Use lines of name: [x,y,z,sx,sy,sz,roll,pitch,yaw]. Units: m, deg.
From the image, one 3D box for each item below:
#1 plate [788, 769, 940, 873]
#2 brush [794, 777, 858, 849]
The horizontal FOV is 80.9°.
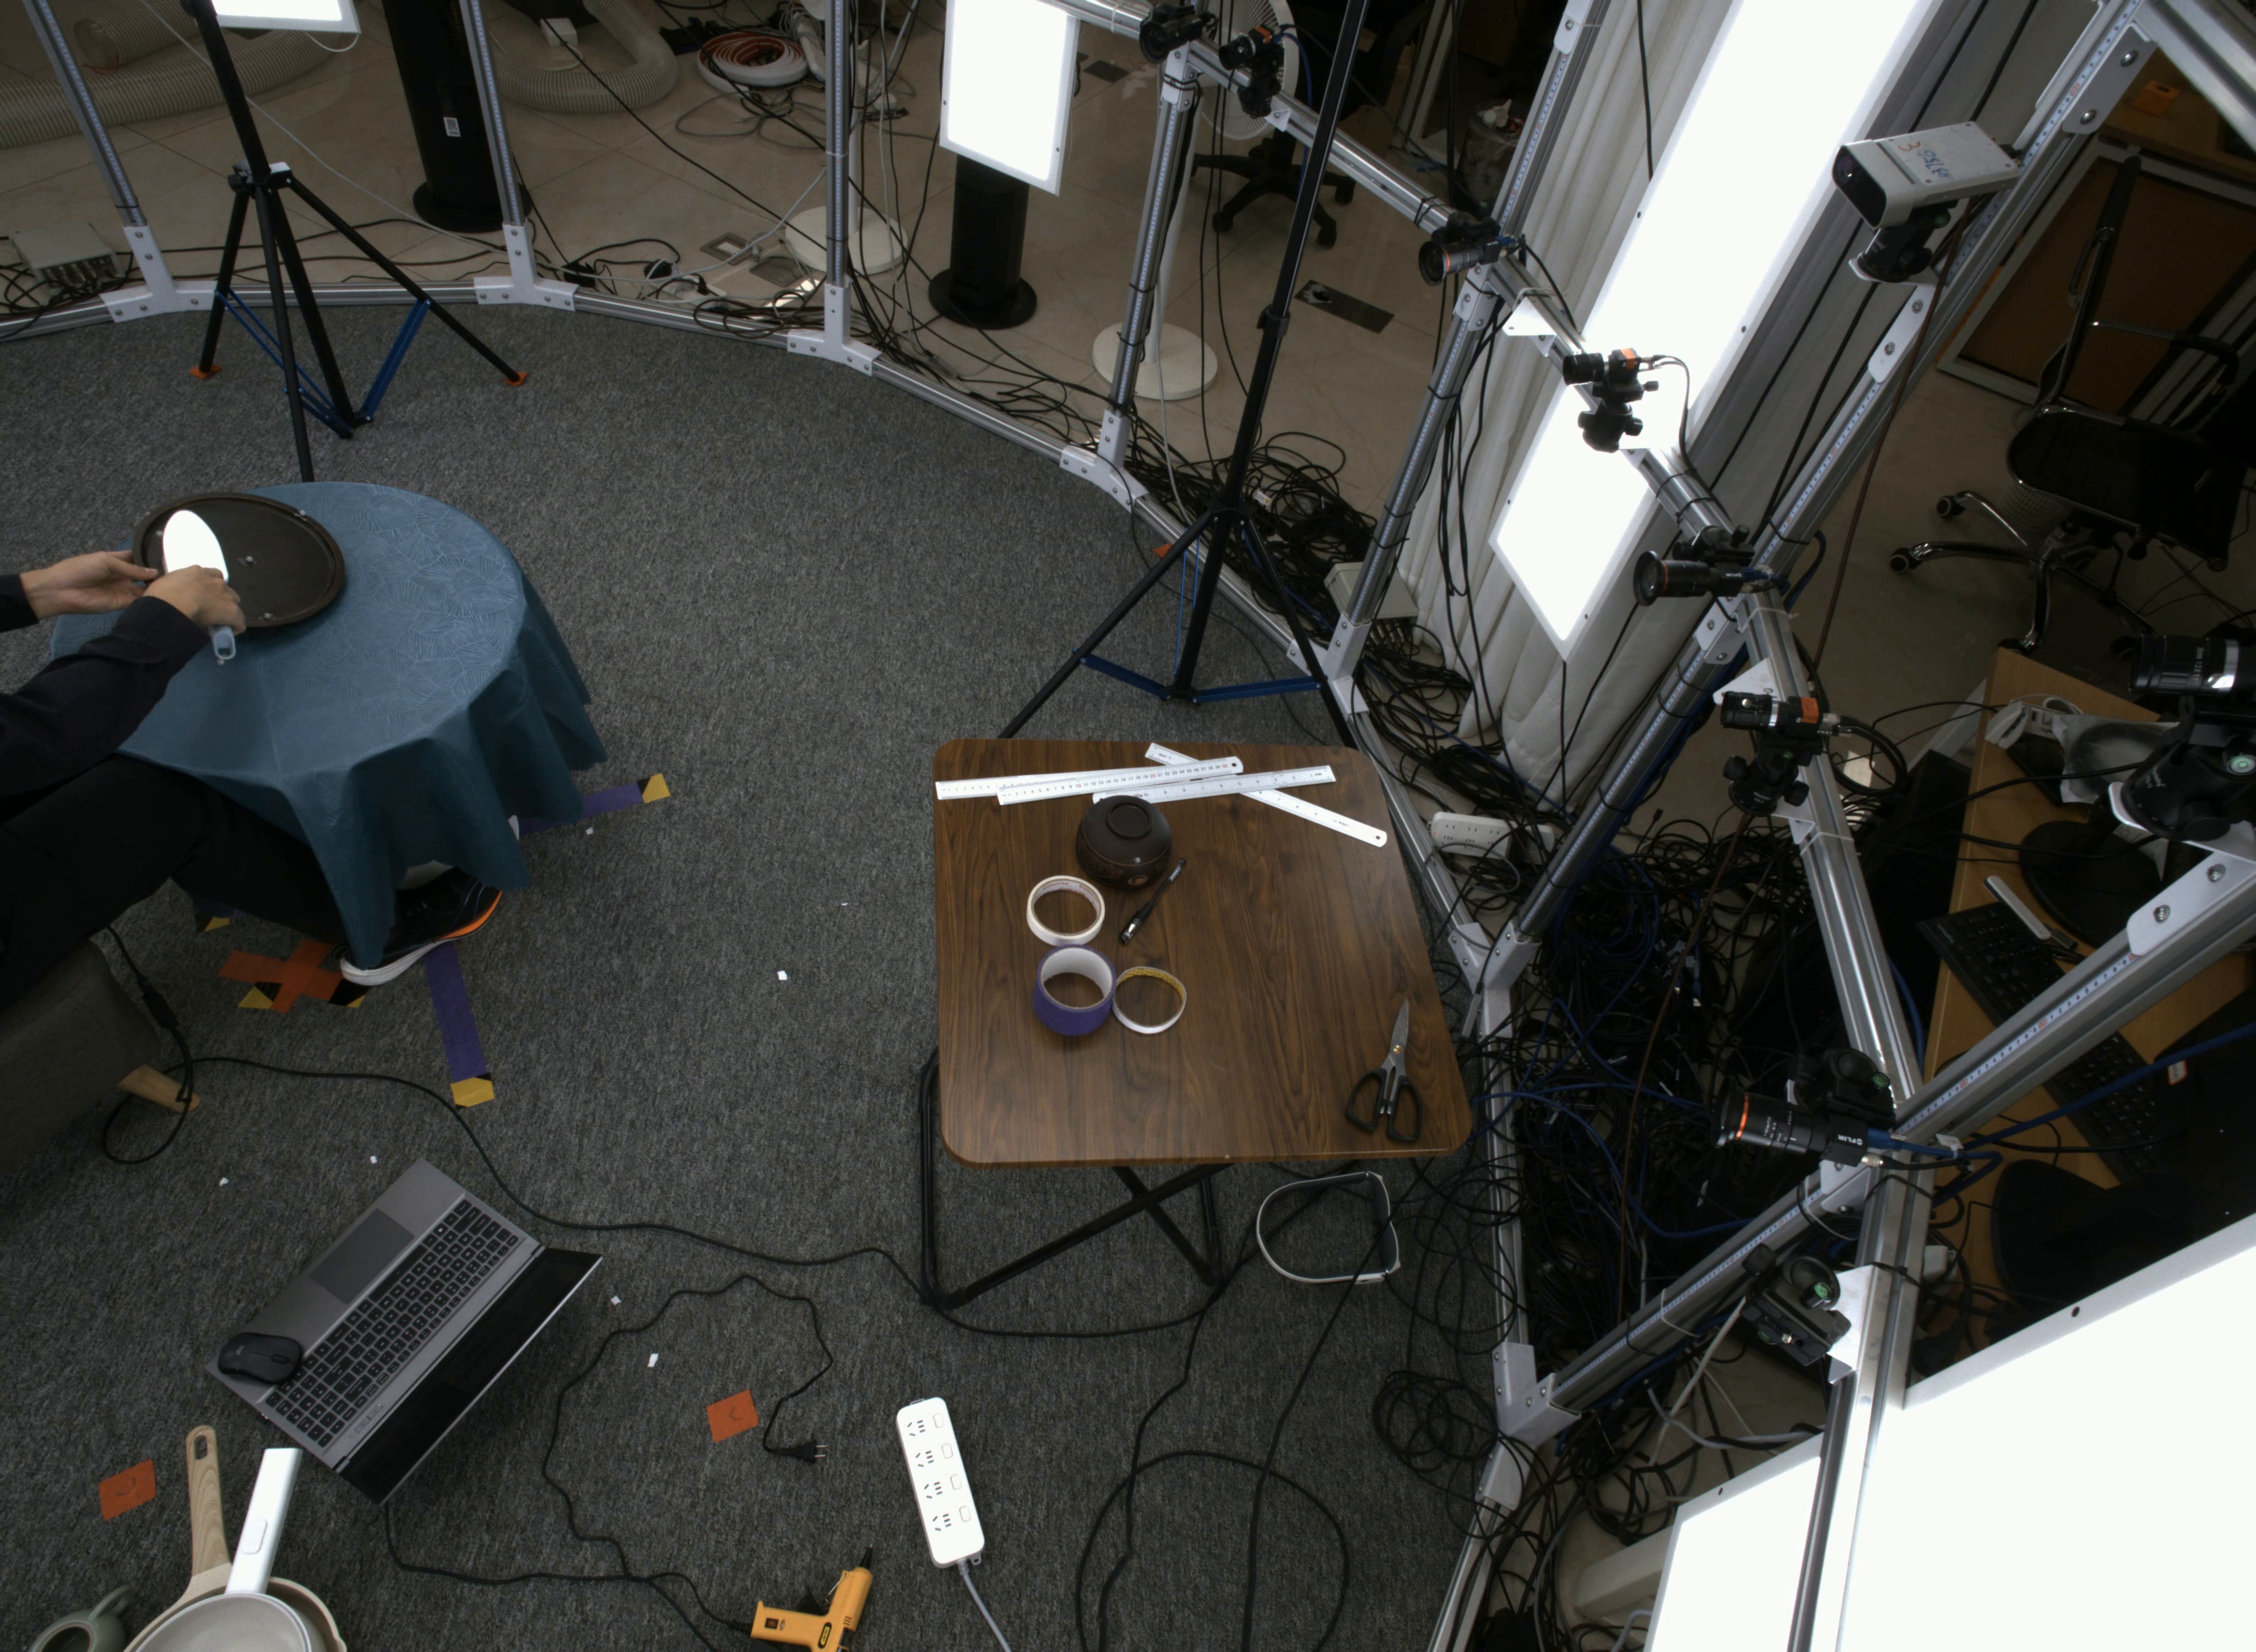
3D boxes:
plate: [-0.431,-0.010,2.121,0.256,0.029,0.249,21,34,-13]
brush: [-0.476,0.001,1.984,0.082,0.087,0.320,-13,18,4]
